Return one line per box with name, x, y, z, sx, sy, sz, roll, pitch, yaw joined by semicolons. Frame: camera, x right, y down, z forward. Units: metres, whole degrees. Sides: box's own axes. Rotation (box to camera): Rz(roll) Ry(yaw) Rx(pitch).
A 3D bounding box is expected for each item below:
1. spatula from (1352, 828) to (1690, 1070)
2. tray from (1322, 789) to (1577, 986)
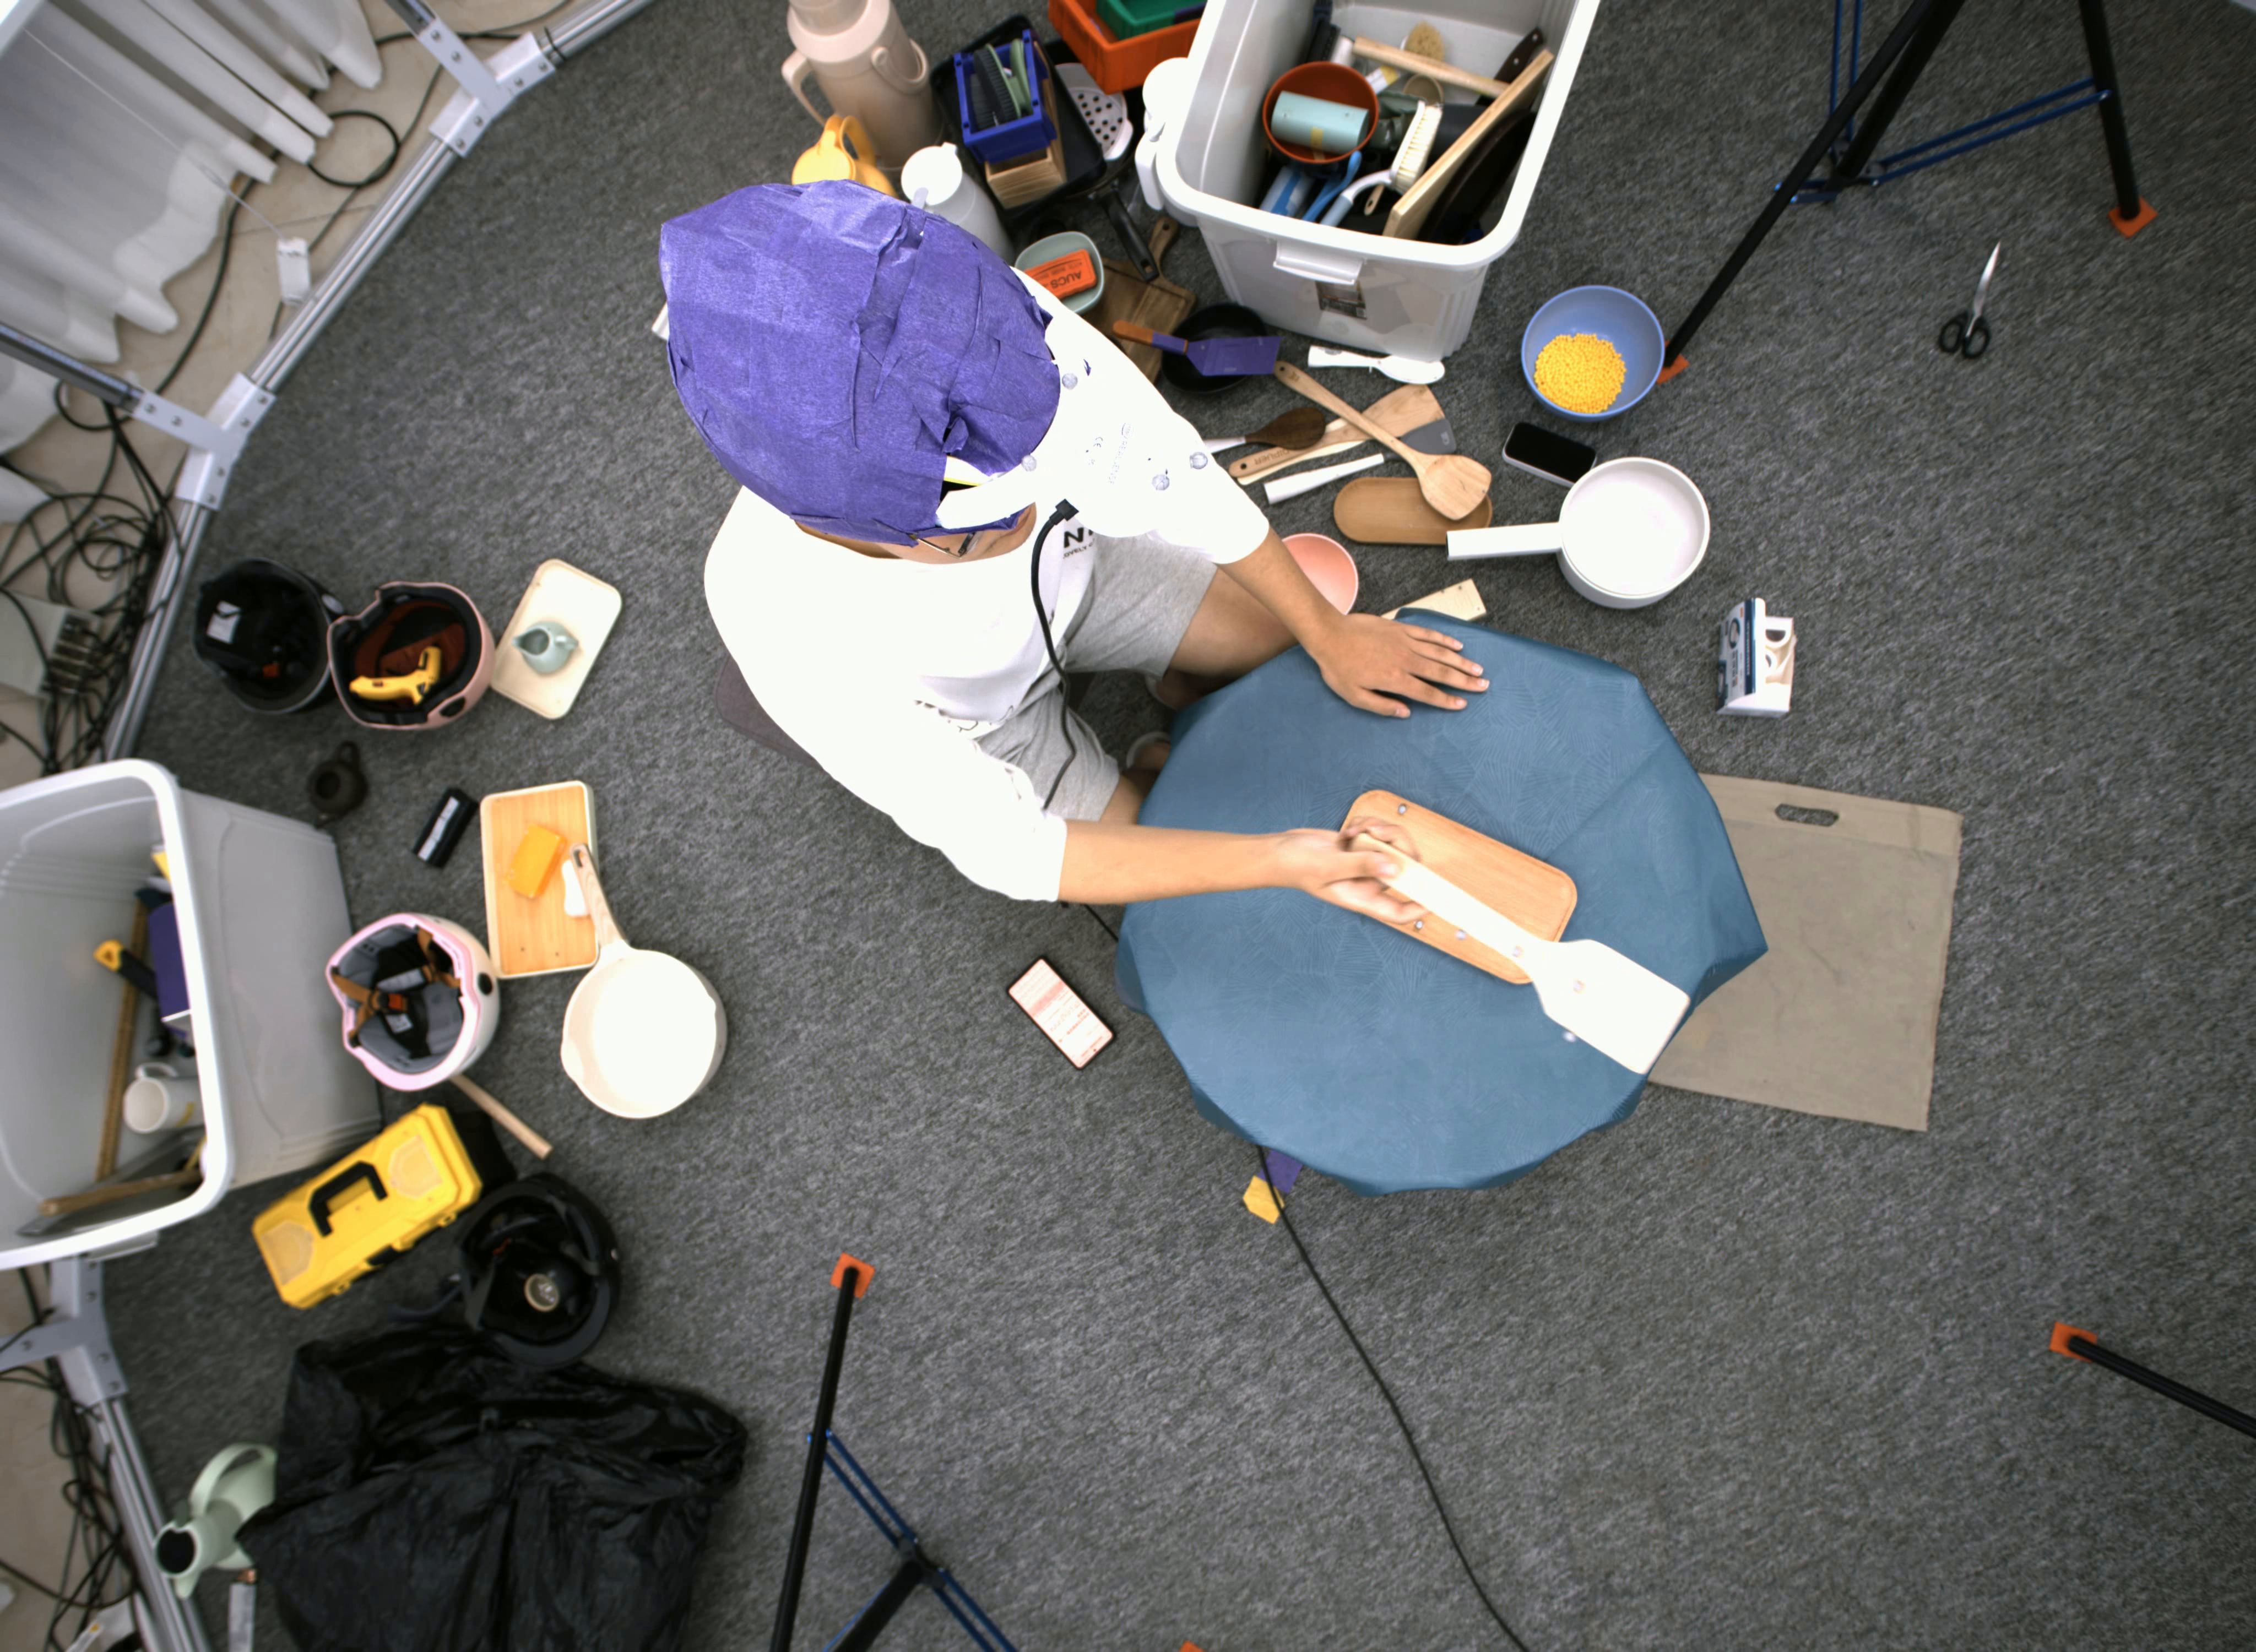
spatula;0.294;0.081;1.080;0.291;0.010;0.073;34;108;29
tray;0.334;0.062;1.440;0.250;0.023;0.131;27;94;11
